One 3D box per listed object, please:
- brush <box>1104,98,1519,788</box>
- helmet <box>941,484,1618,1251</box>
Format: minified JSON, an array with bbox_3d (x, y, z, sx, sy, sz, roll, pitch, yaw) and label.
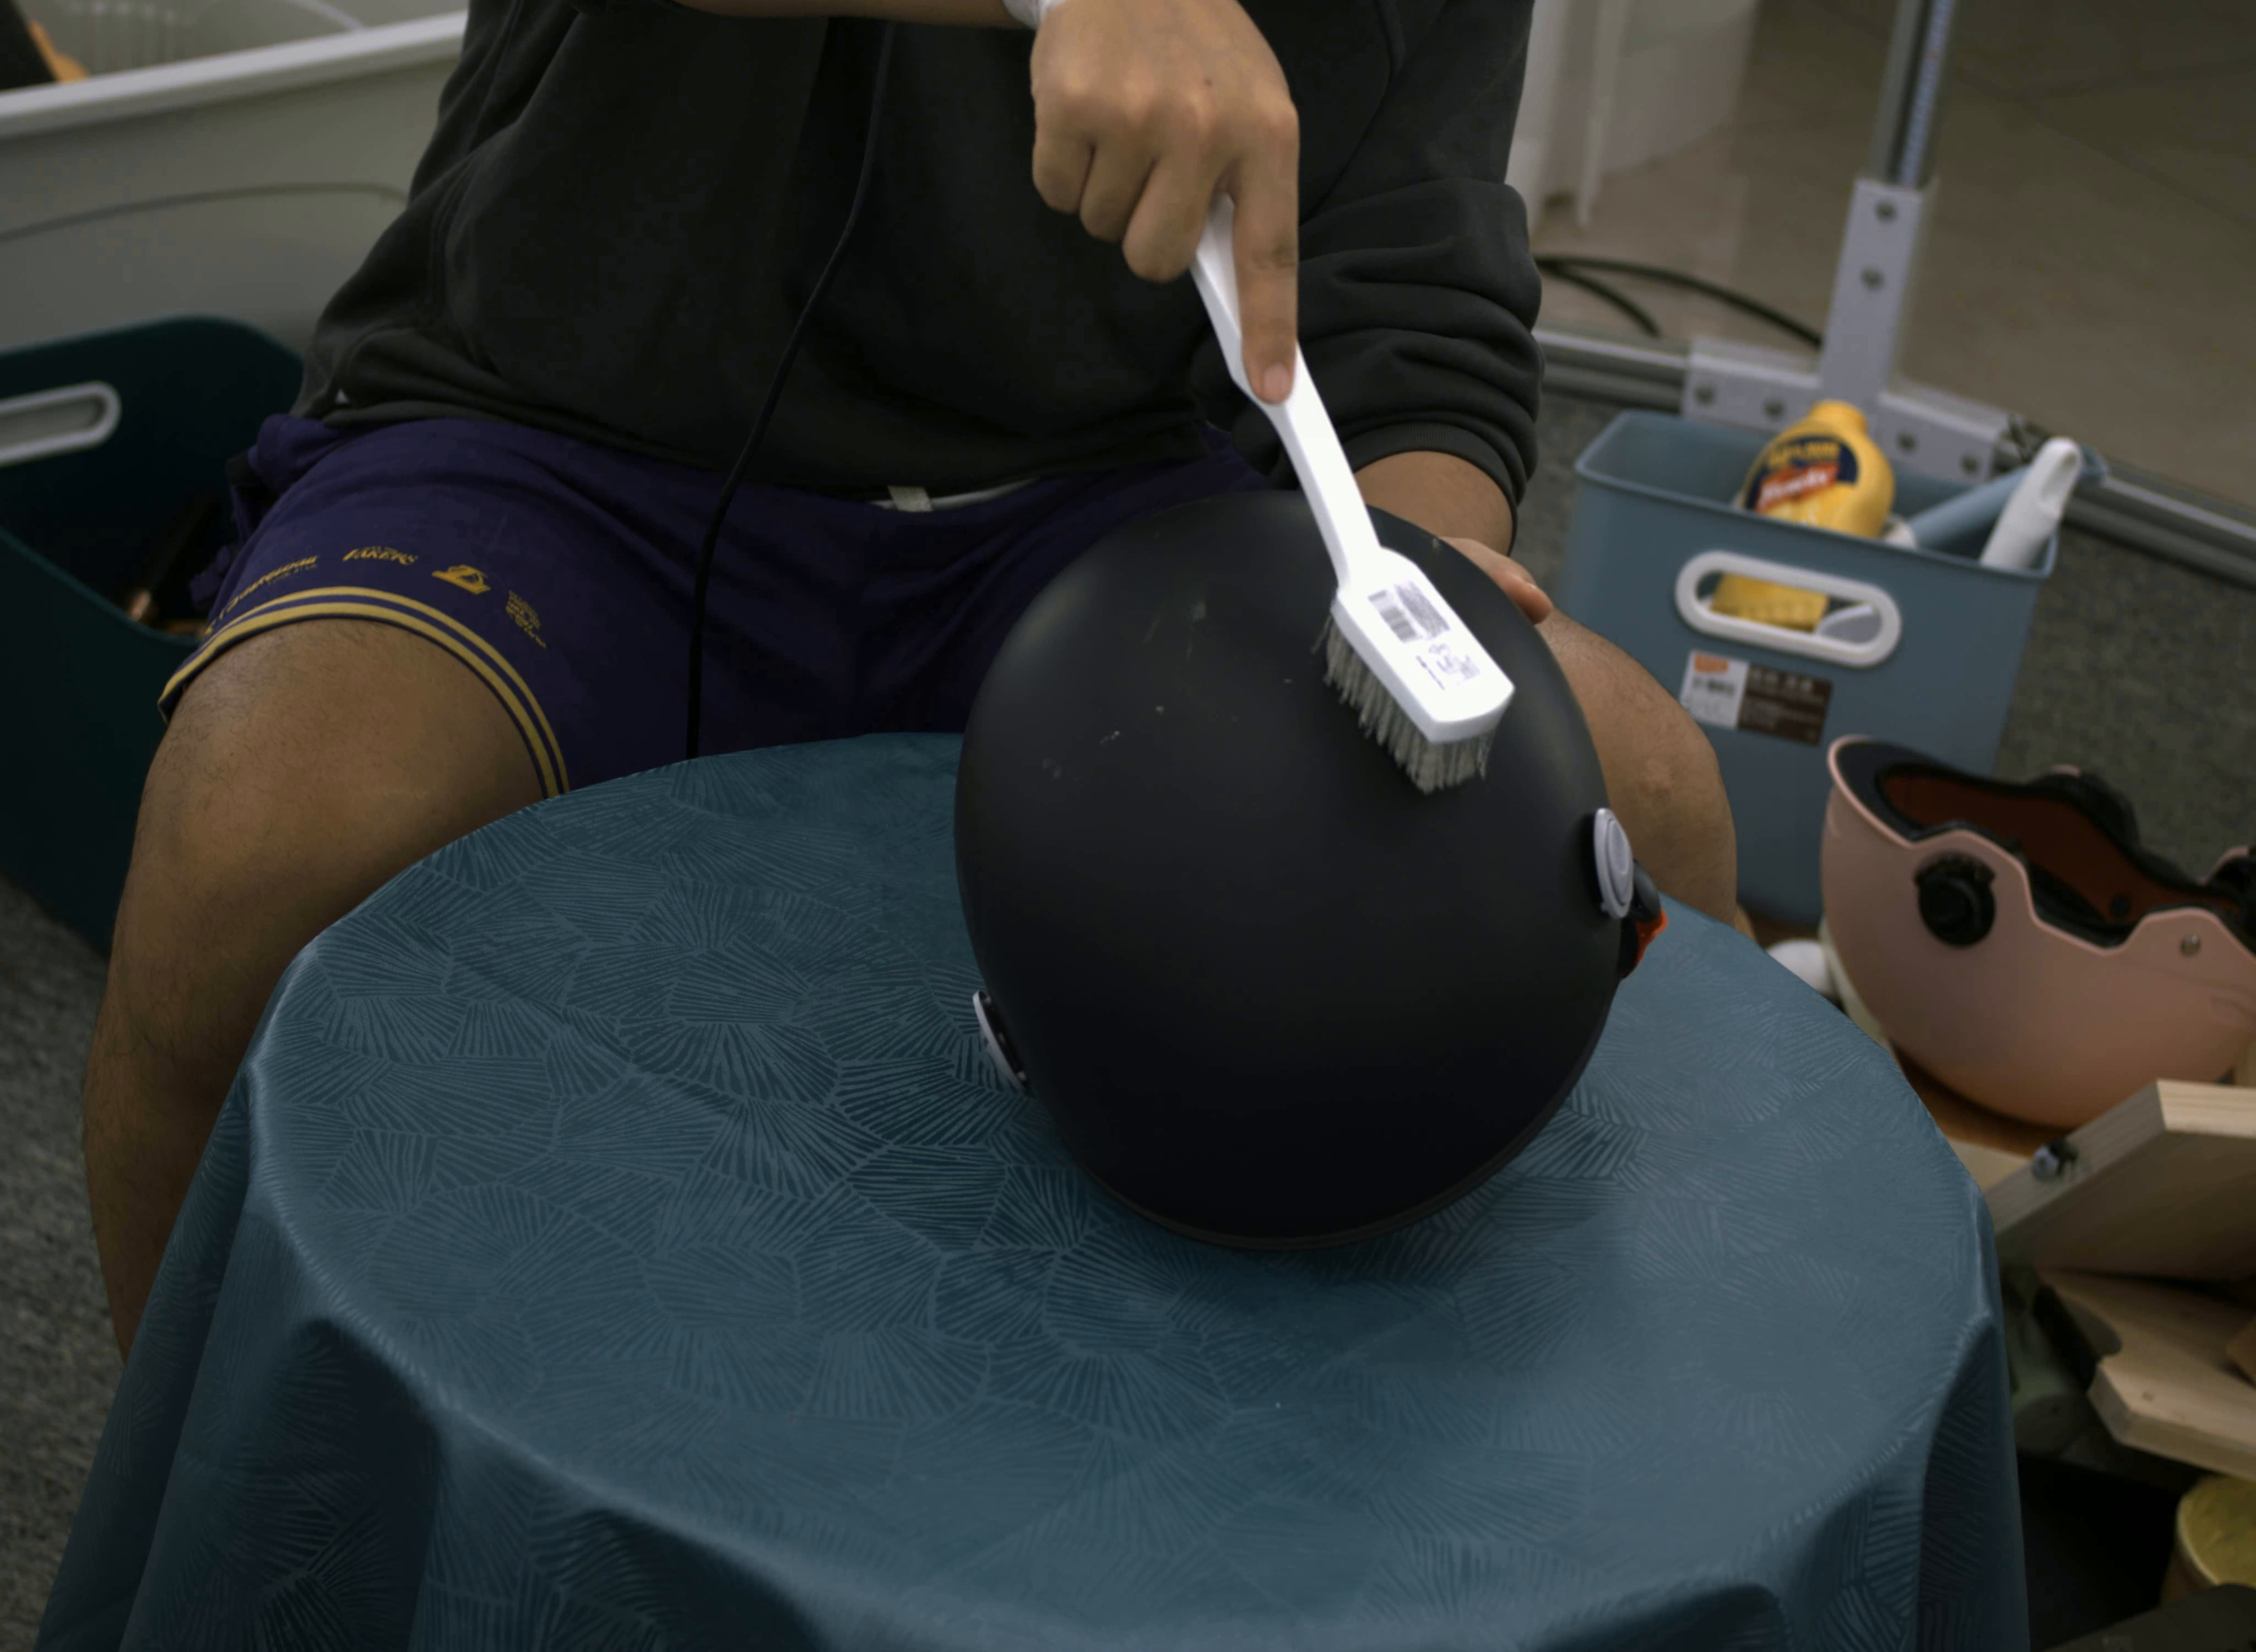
[{"bbox_3d":[0.051,-0.123,1.715,0.034,0.050,0.244,-25,79,-28],"label":"brush"},{"bbox_3d":[0.040,-0.008,1.792,0.230,0.165,0.275,-16,47,13],"label":"helmet"}]
